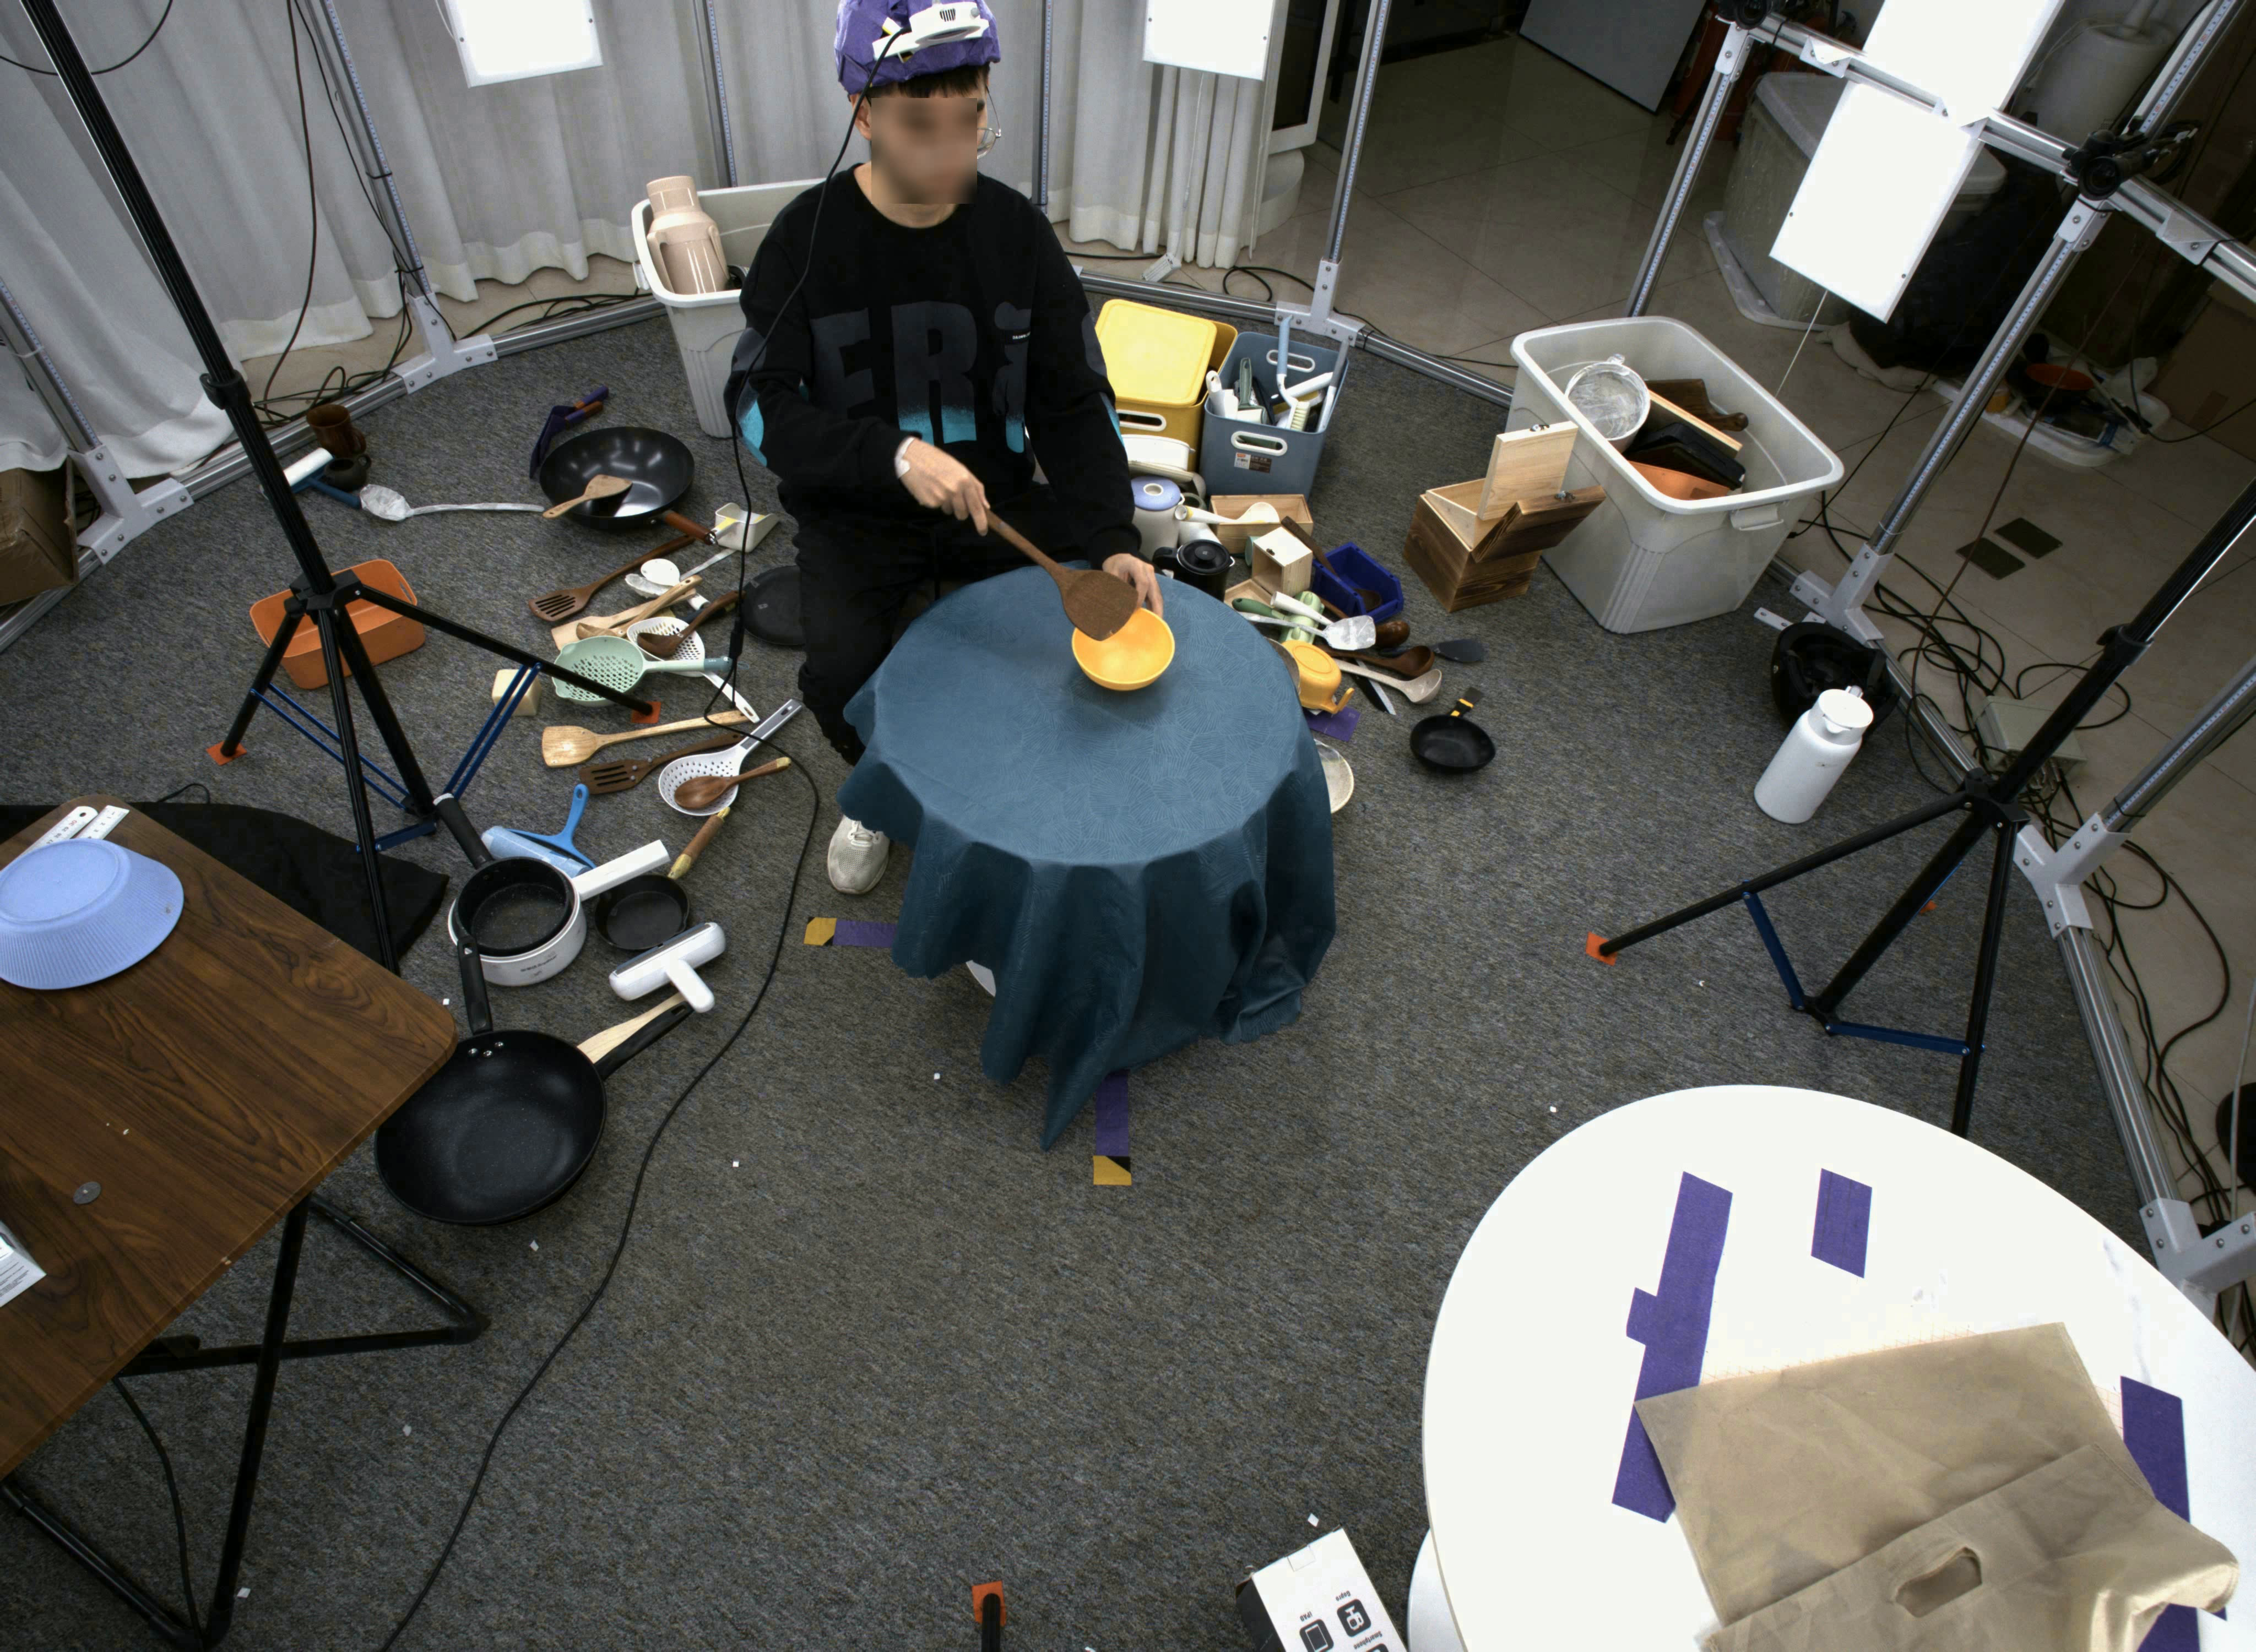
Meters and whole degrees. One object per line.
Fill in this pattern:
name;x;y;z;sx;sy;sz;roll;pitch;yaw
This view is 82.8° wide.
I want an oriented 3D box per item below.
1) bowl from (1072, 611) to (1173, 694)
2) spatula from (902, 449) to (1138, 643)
bowl;-0.010;-0.240;1.852;0.145;0.059;0.149;3;54;-4
spatula;-0.154;-0.394;1.773;0.386;0.015;0.097;38;76;0
